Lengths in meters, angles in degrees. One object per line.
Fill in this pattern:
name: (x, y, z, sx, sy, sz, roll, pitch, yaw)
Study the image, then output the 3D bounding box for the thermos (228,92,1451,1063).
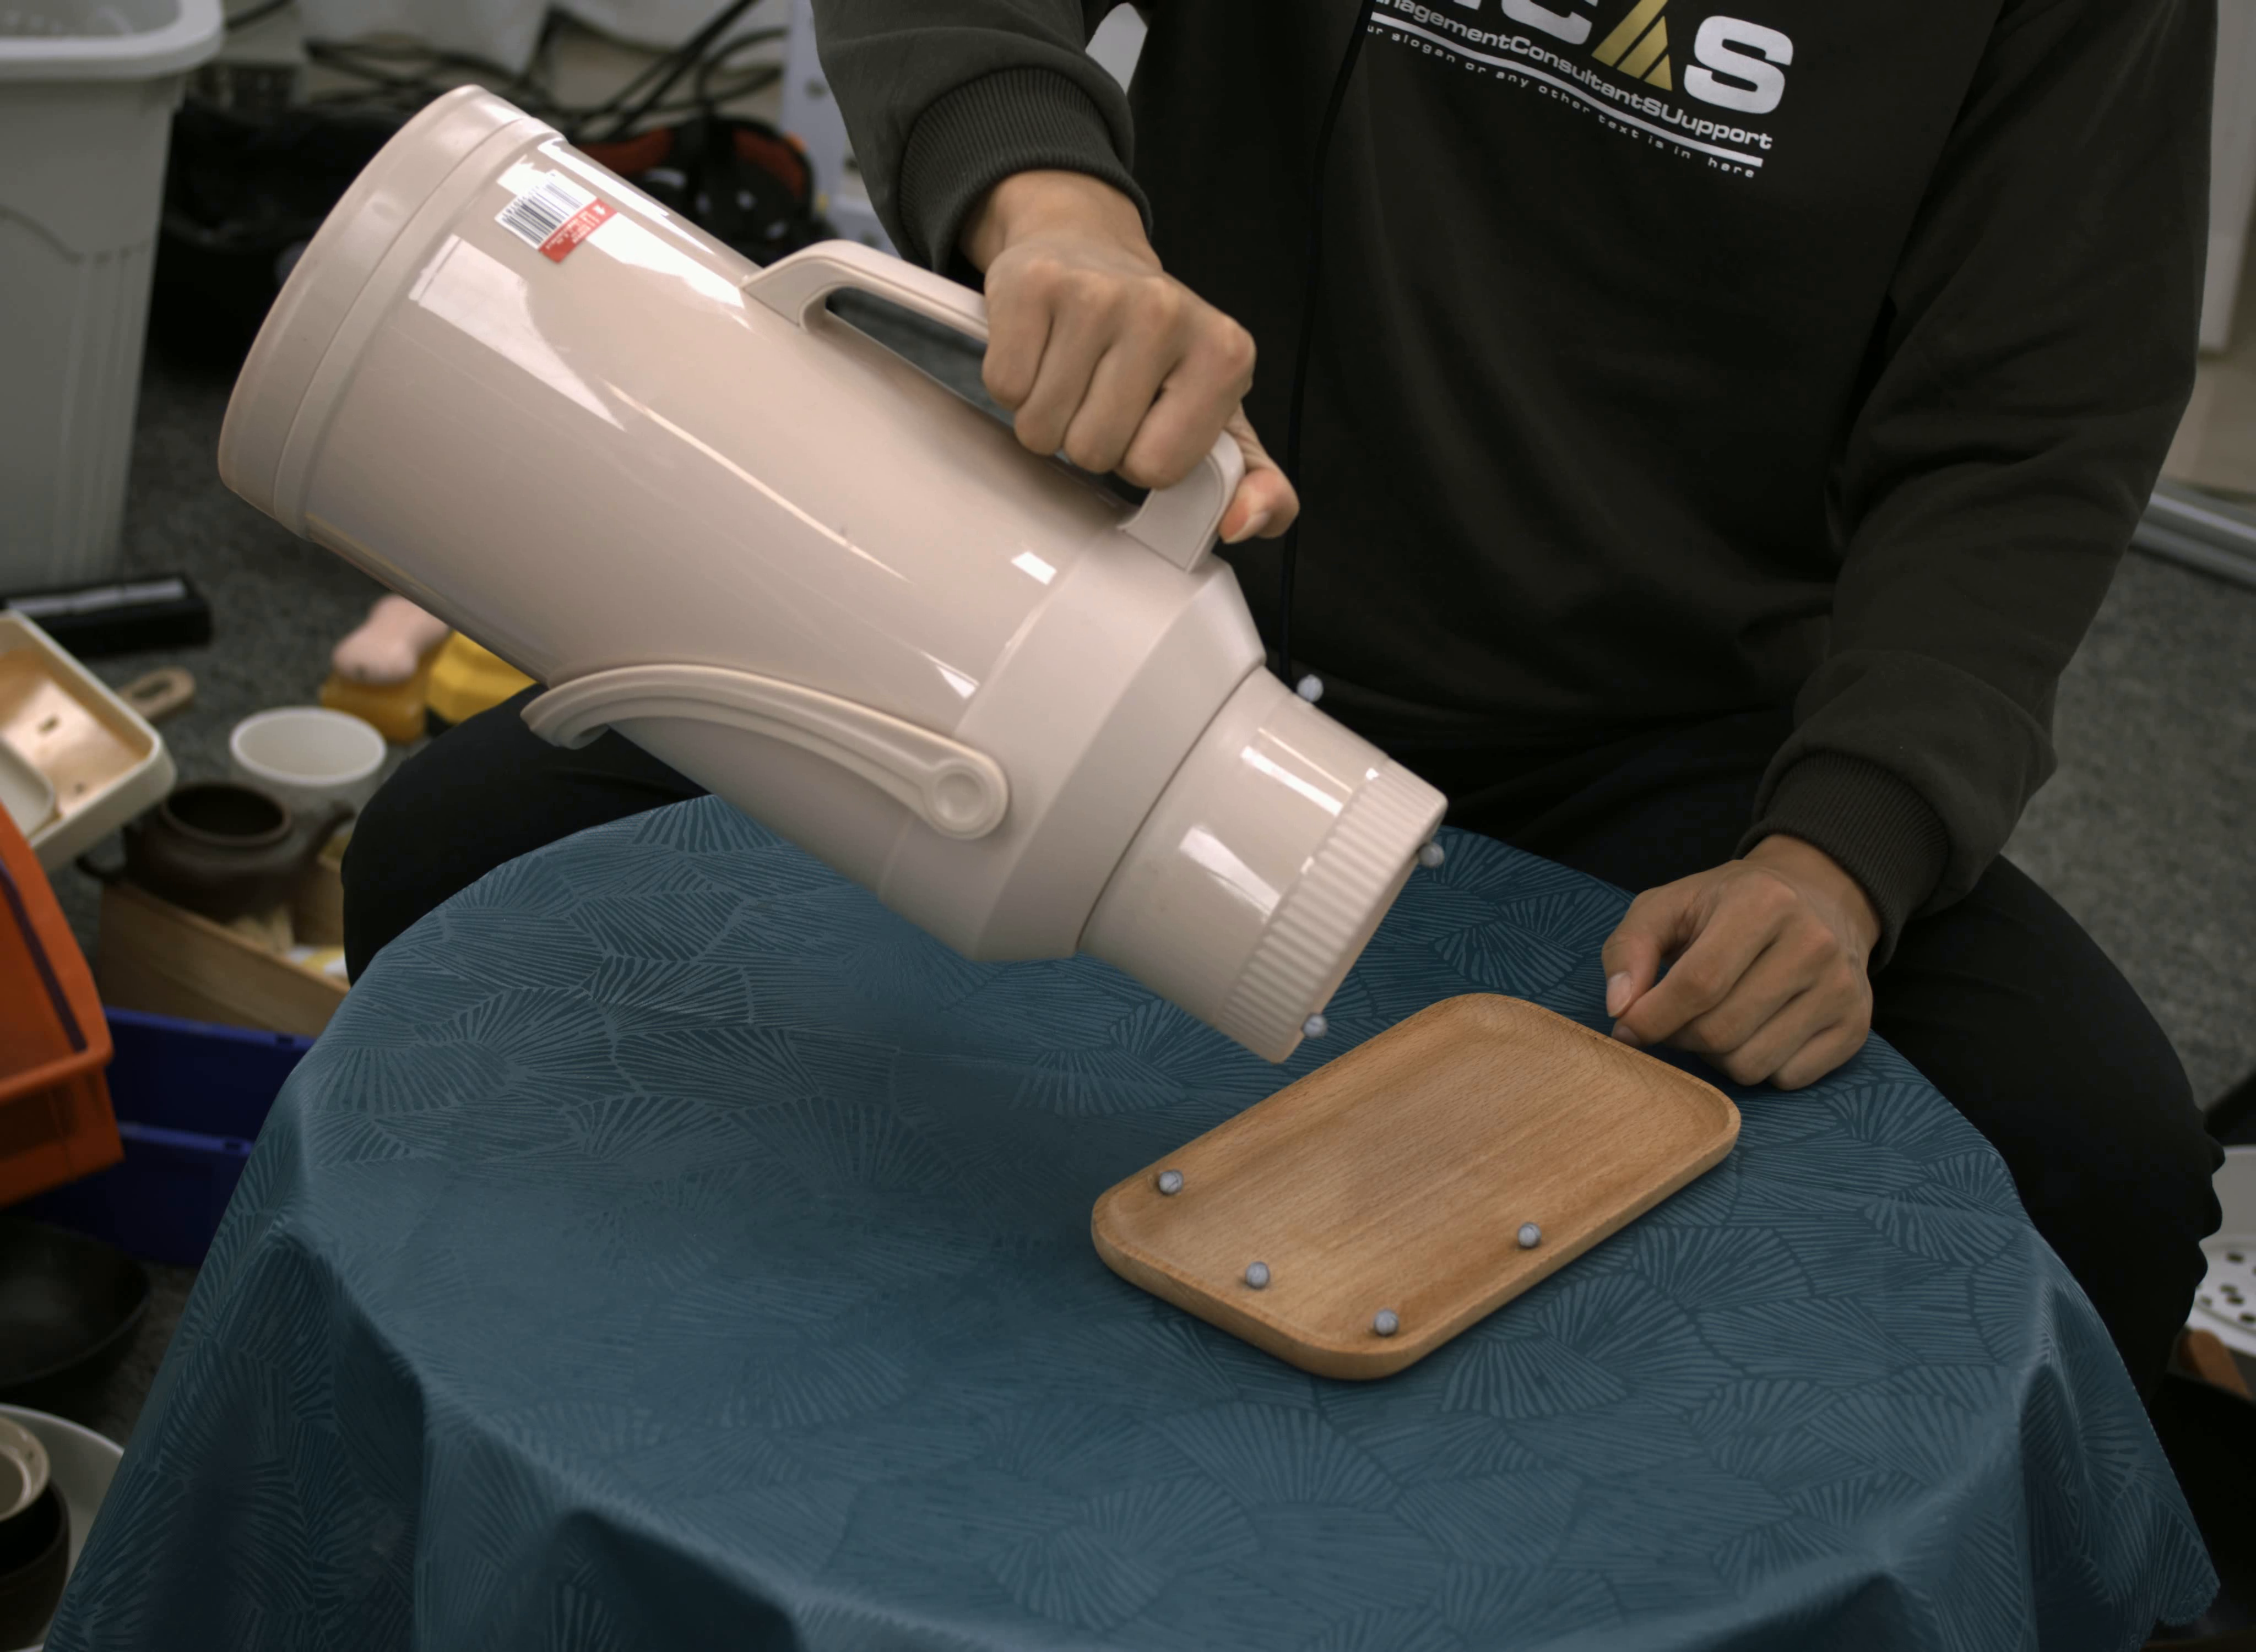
thermos: (-0.084, -0.085, 1.755, 0.407, 0.207, 0.175, 33, 23, 7)

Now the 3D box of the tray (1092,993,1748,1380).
tray: (0.102, 0.121, 1.819, 0.131, 0.023, 0.249, 27, 32, 30)
